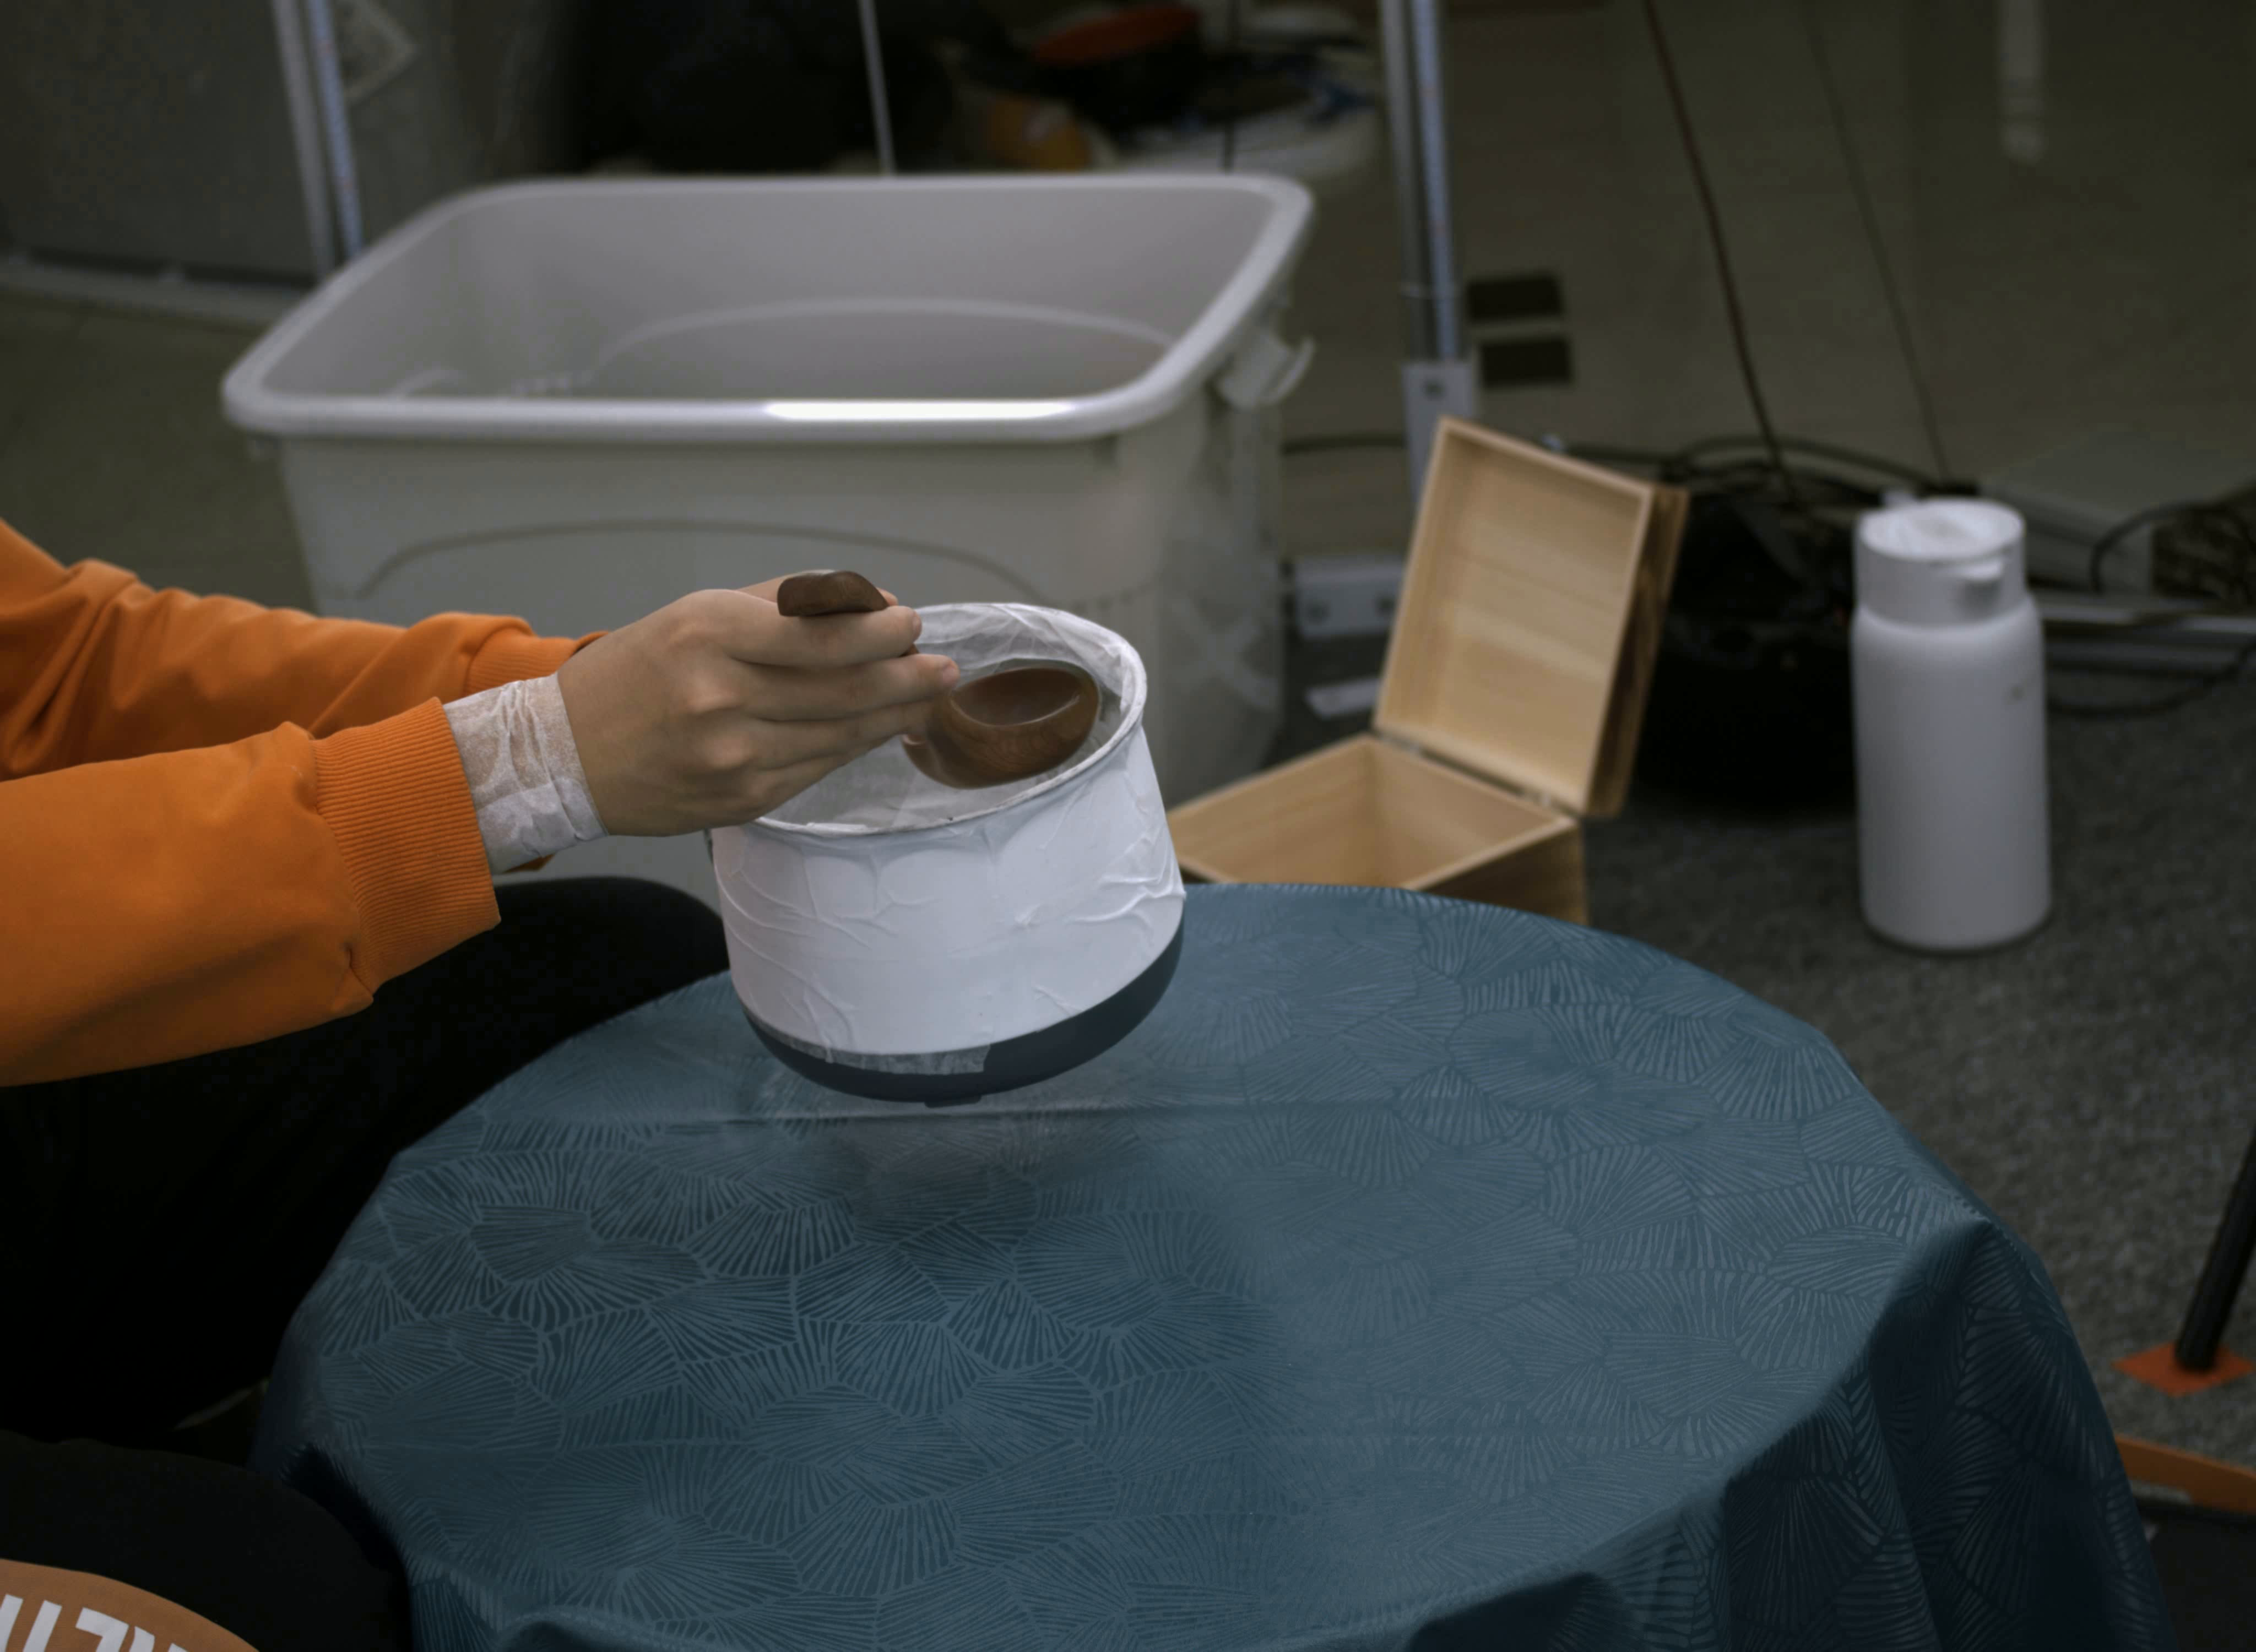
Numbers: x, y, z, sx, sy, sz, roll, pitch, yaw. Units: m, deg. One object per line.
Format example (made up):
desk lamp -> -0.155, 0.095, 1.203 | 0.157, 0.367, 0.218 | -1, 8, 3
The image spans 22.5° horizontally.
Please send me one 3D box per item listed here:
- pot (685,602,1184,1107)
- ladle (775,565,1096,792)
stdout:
pot -> -0.089, 0.005, 2.177 | 0.177, 0.139, 0.231 | -30, 36, -32
ladle -> -0.077, -0.066, 2.023 | 0.076, 0.263, 0.064 | -15, 69, 13
